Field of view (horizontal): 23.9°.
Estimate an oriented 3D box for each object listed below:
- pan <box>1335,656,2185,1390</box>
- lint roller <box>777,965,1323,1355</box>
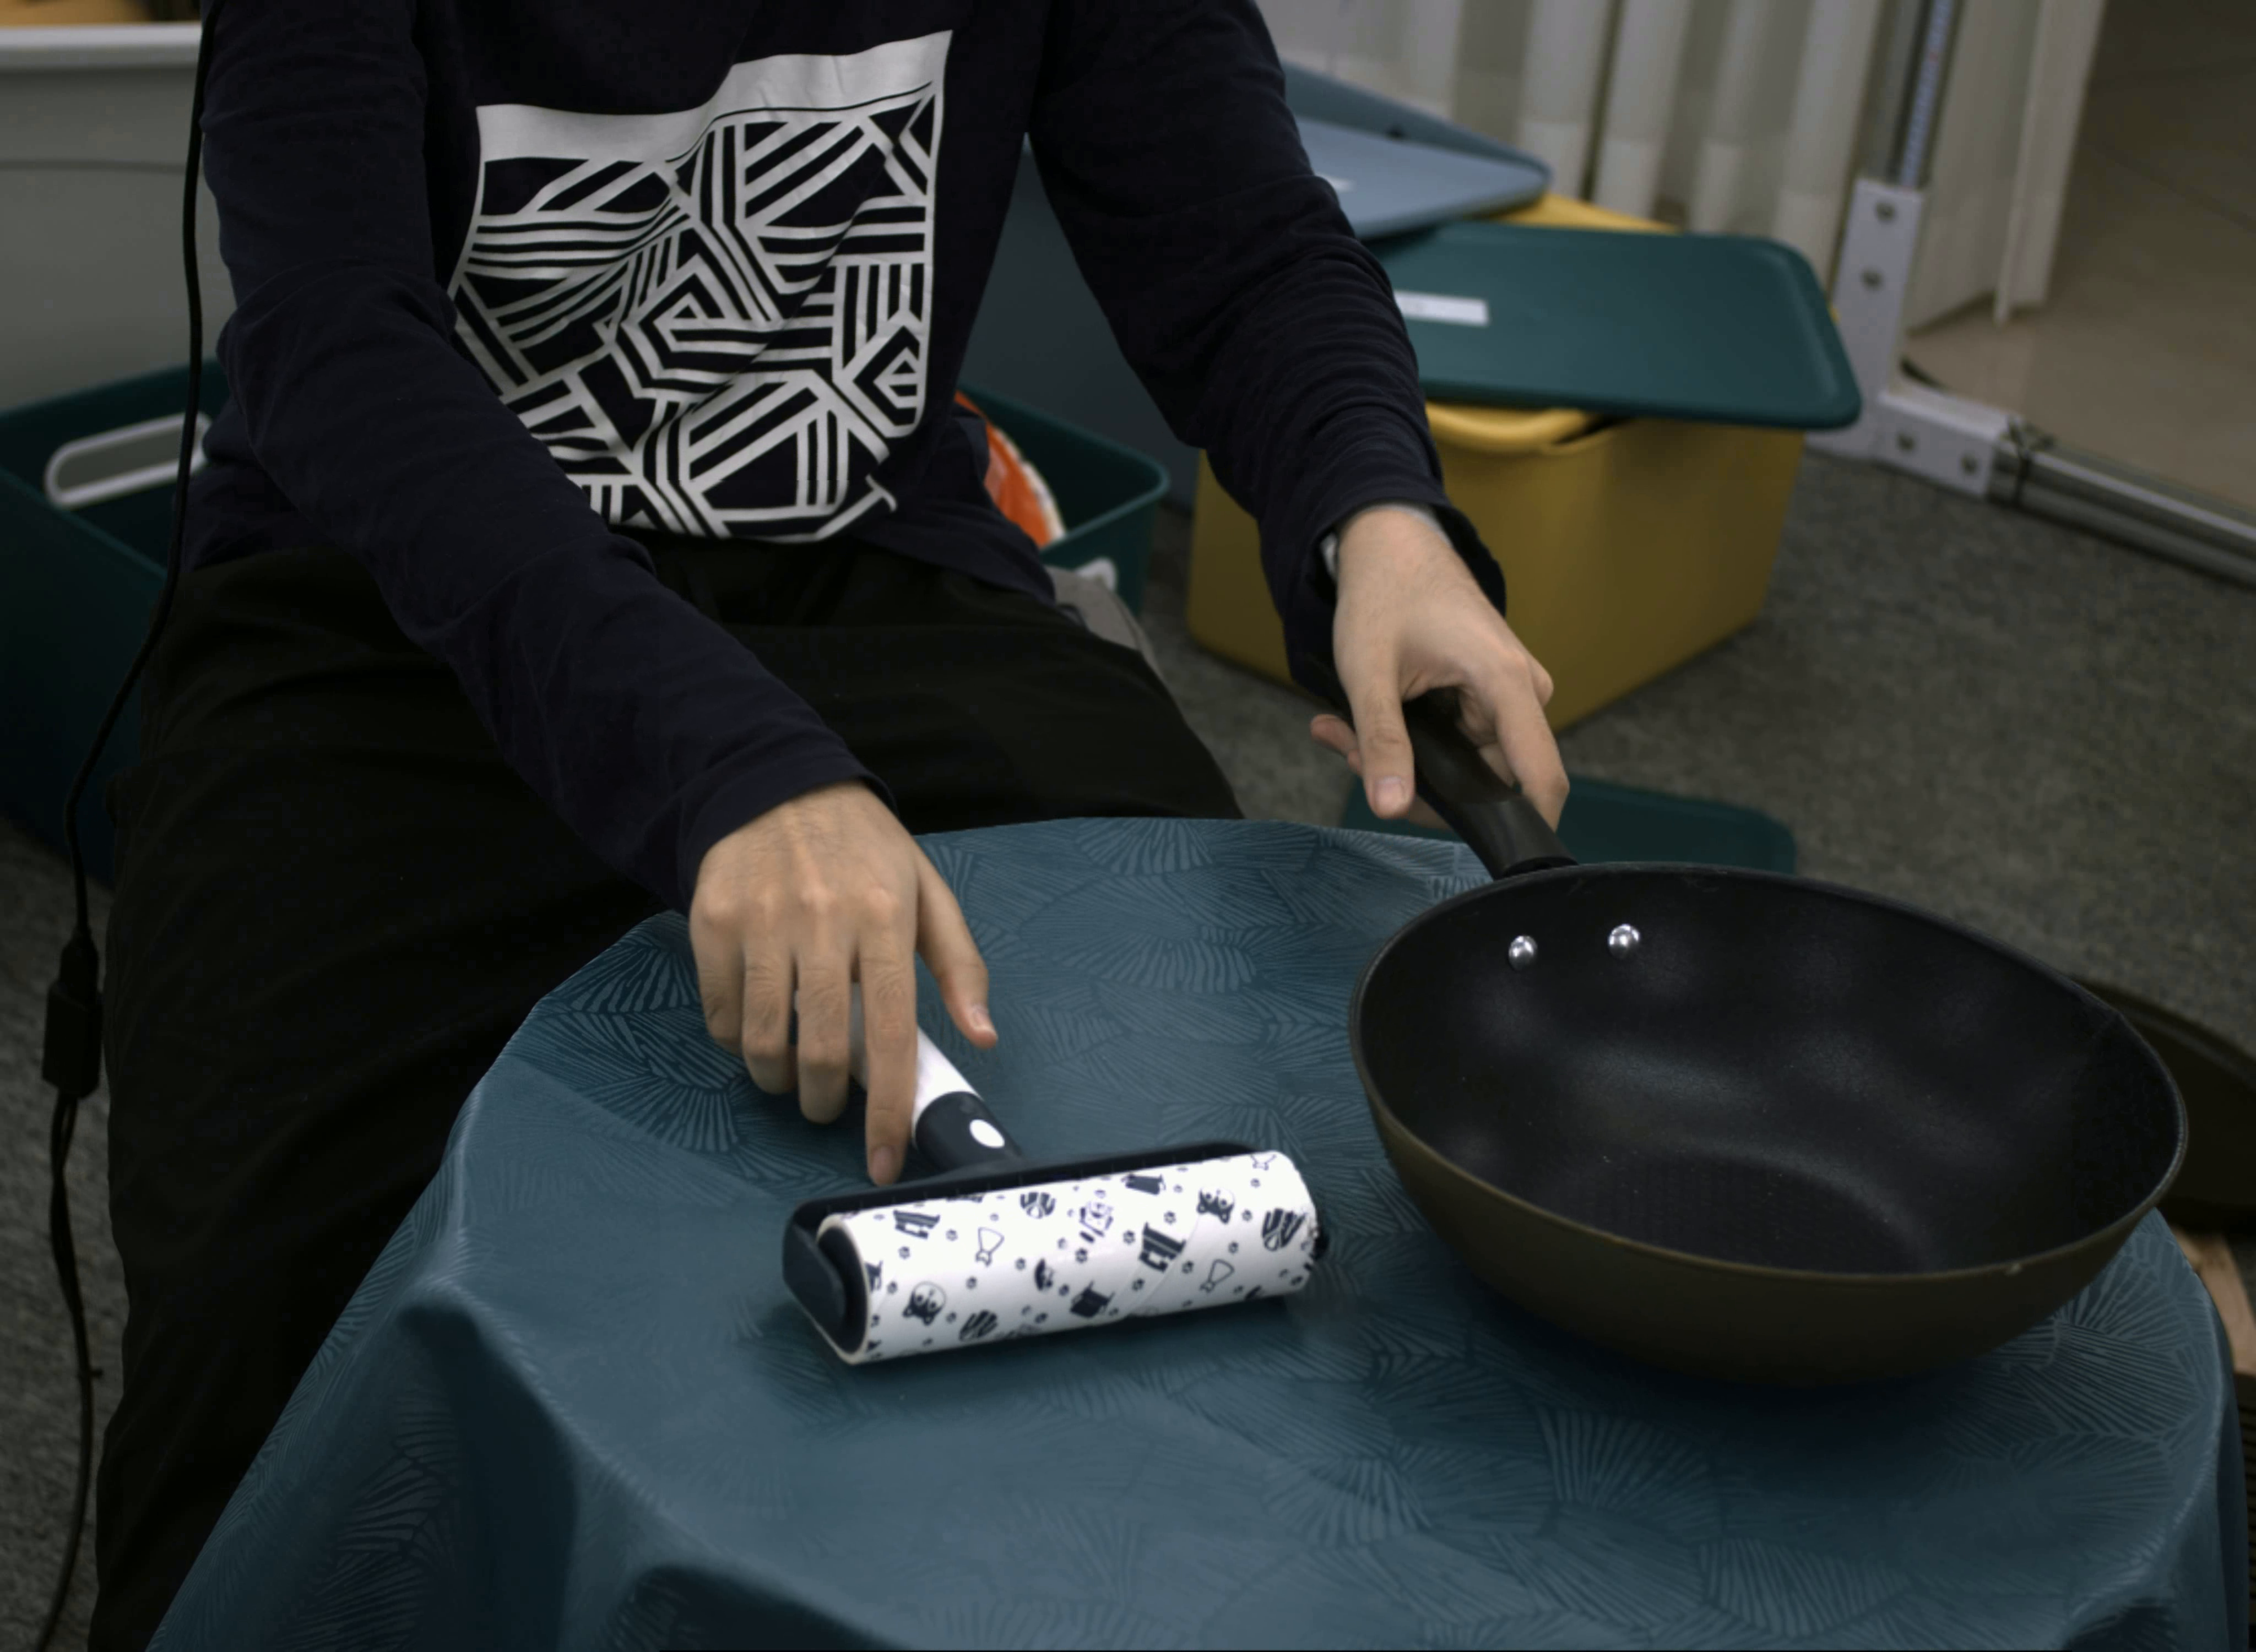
[{"bbox_3d":[0.169,0.070,1.856,0.286,0.086,0.467,-6,29,-23],"label":"pan"},{"bbox_3d":[-0.065,0.097,1.800,0.175,0.050,0.249,-8,26,-25],"label":"lint roller"}]
